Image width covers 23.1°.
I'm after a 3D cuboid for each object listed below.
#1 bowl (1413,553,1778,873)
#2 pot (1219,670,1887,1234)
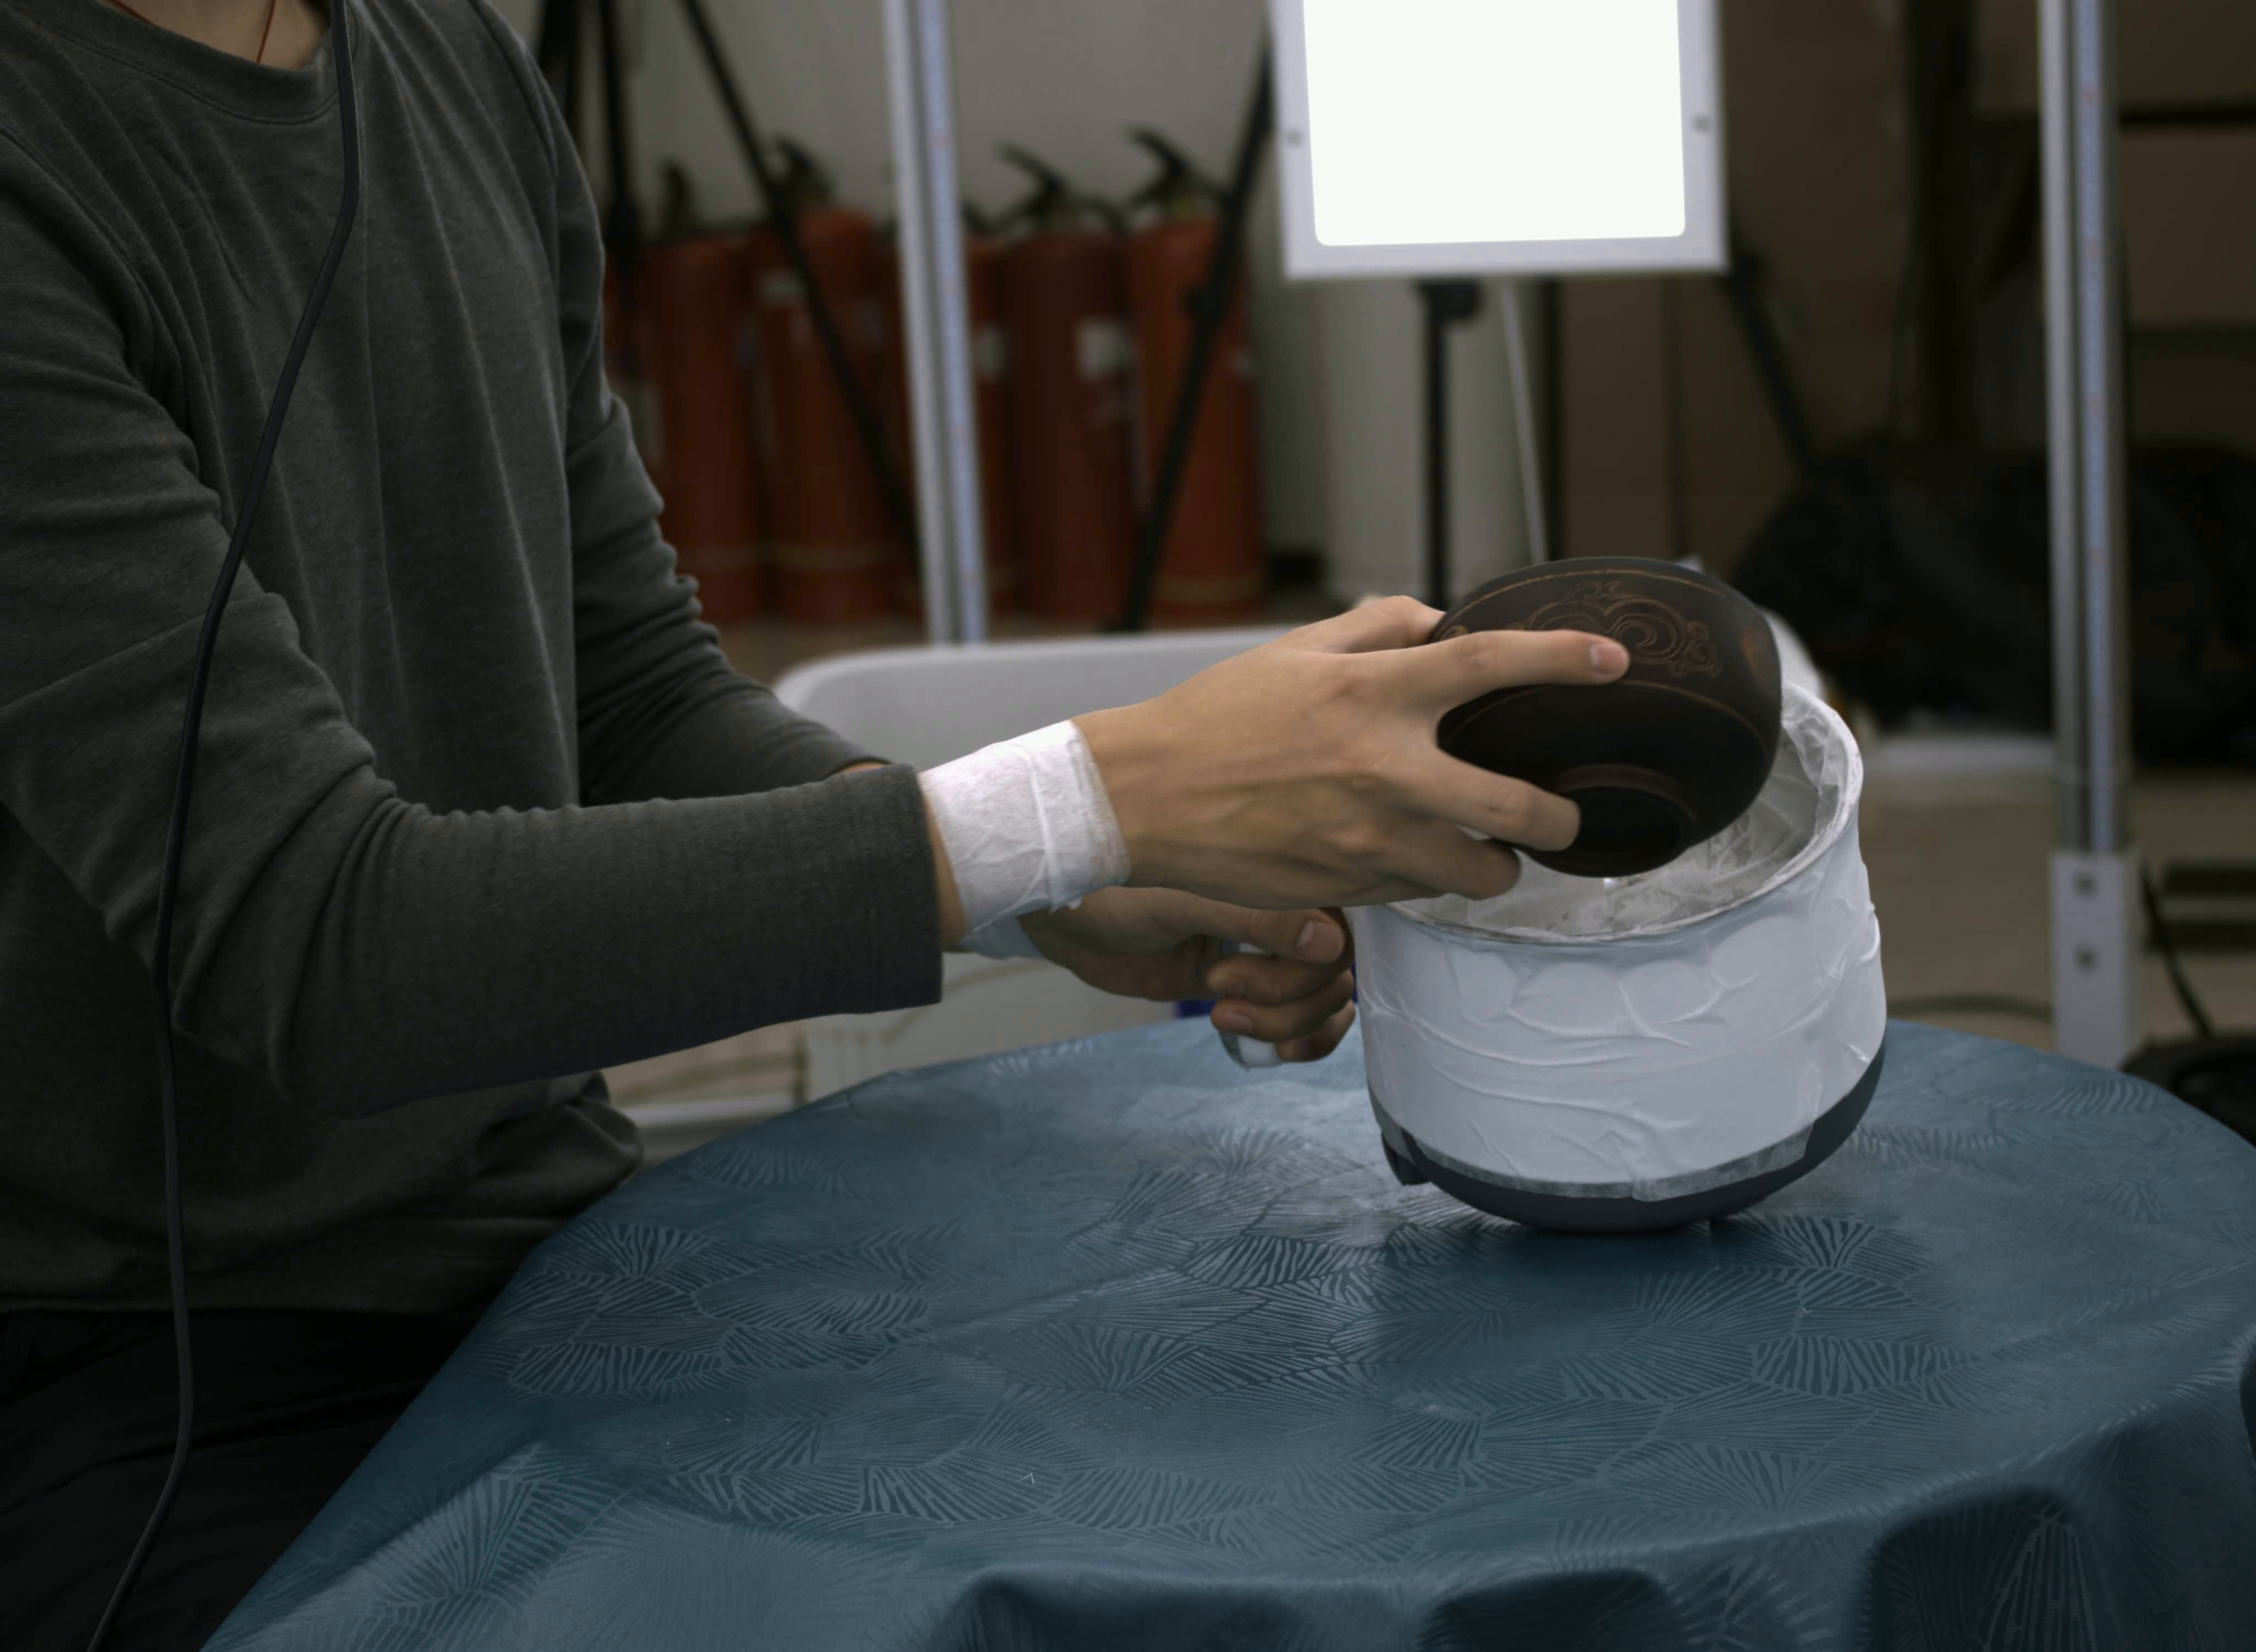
[{"bbox_3d":[0.151,-0.028,1.757,0.117,0.070,0.118,1,-30,-1],"label":"bowl"},{"bbox_3d":[0.138,0.040,1.850,0.237,0.137,0.176,2,34,22],"label":"pot"}]
